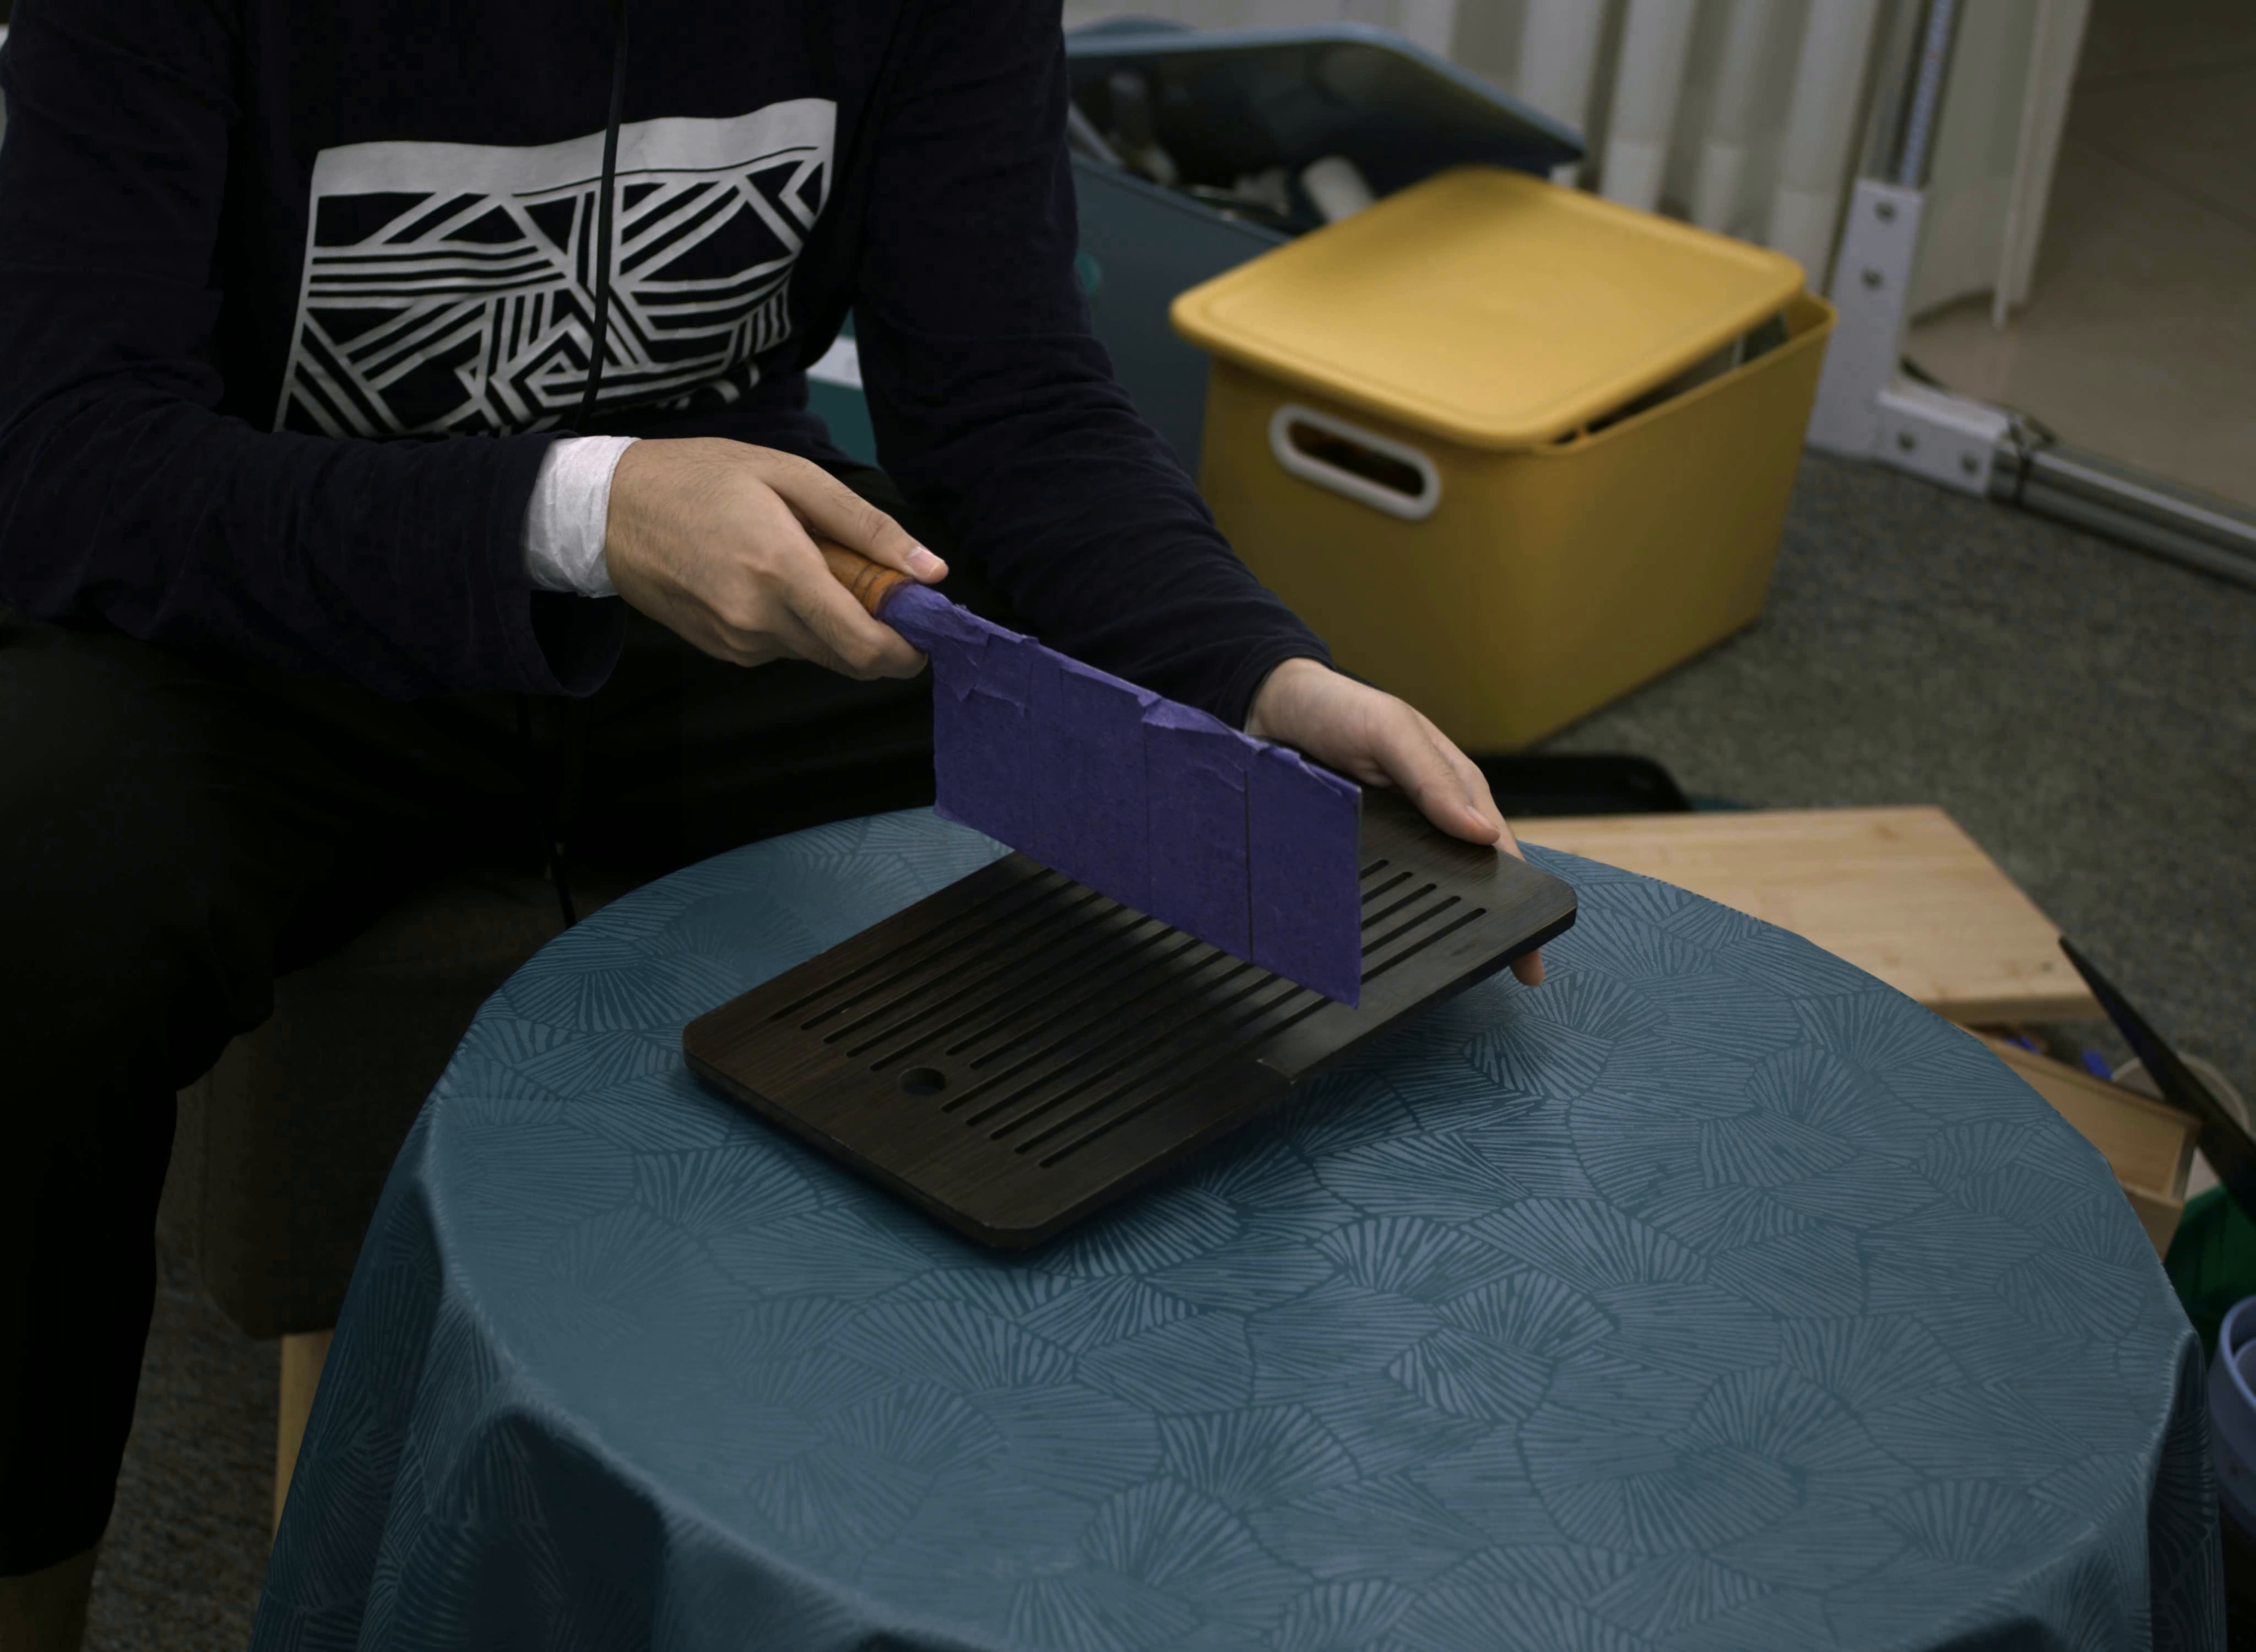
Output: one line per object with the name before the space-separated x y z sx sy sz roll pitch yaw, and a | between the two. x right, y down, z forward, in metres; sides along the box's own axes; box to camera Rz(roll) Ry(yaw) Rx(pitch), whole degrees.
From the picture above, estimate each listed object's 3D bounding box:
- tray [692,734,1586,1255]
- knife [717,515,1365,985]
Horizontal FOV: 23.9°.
tray | 0.007 0.057 1.885 0.171 0.018 0.305 27 40 35
knife | -0.035 -0.026 1.909 0.032 0.103 0.317 -24 36 -38
